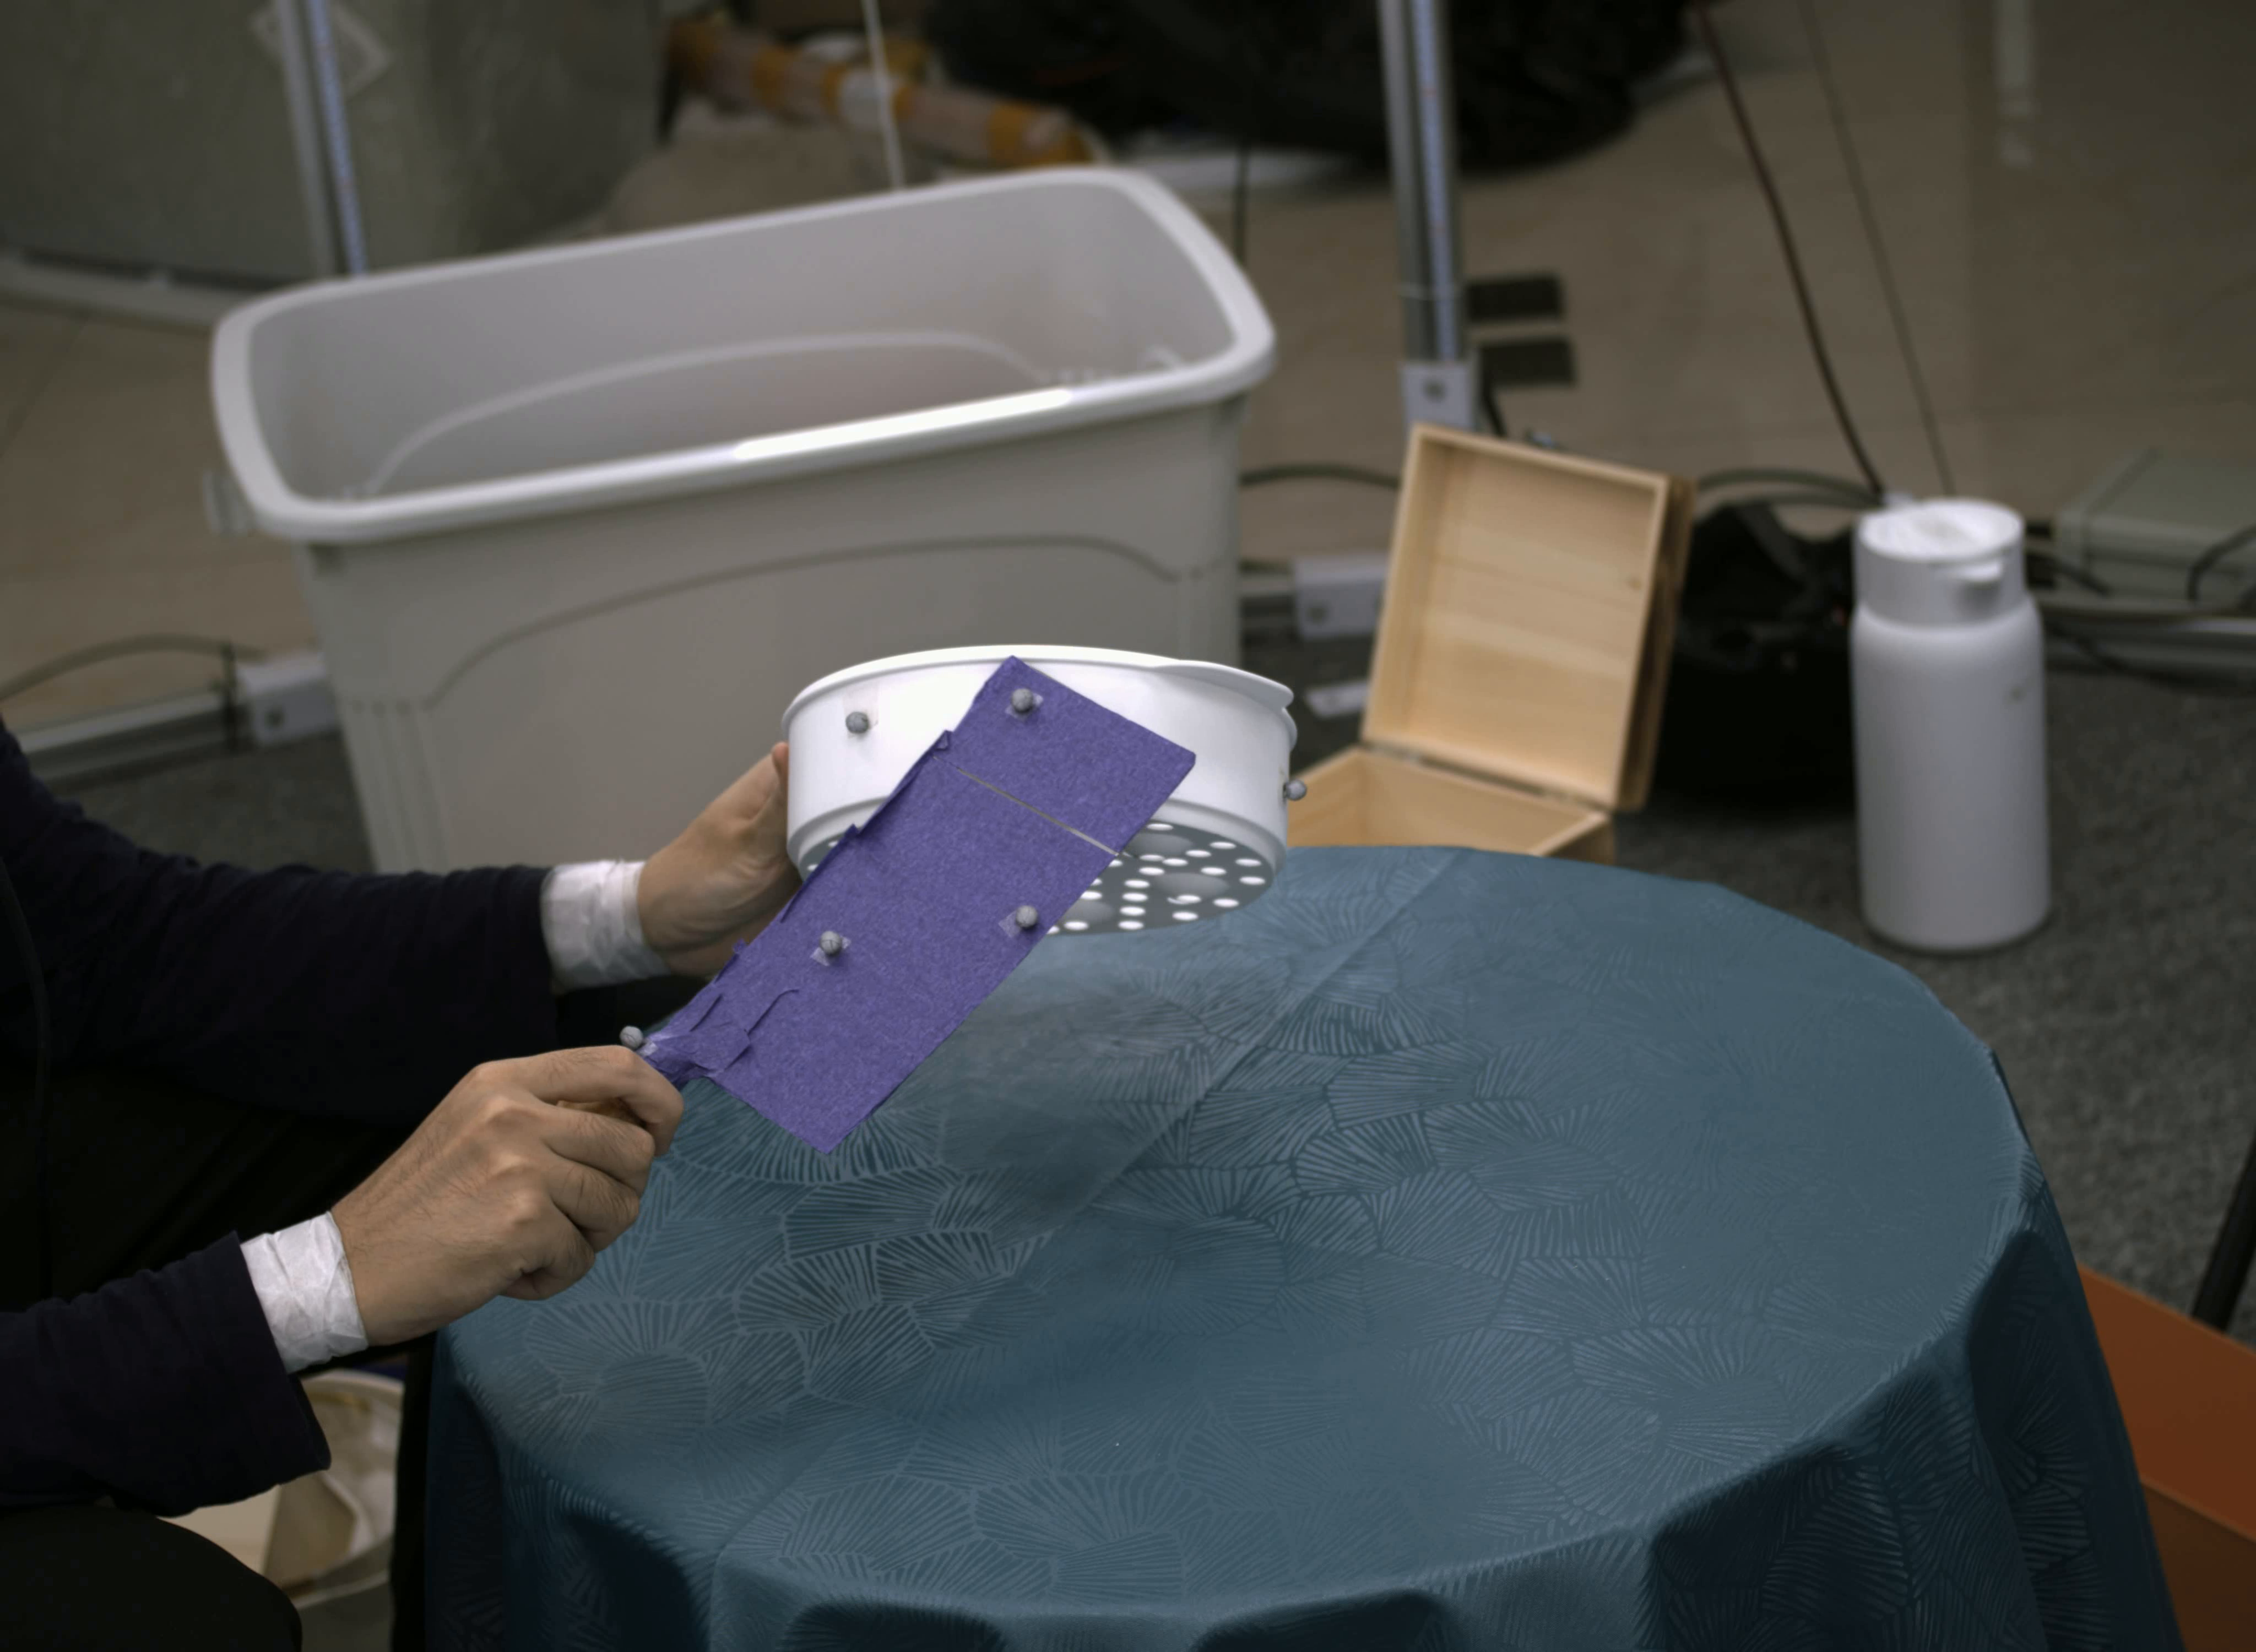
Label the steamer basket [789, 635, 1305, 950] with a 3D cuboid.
[{"bbox_3d":[-0.031,-0.008,2.191,0.231,0.068,0.203,-18,-25,41],"label":"steamer basket"}]

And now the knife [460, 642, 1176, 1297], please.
[{"bbox_3d":[-0.106,0.058,2.030,0.103,0.033,0.313,29,69,32],"label":"knife"}]
